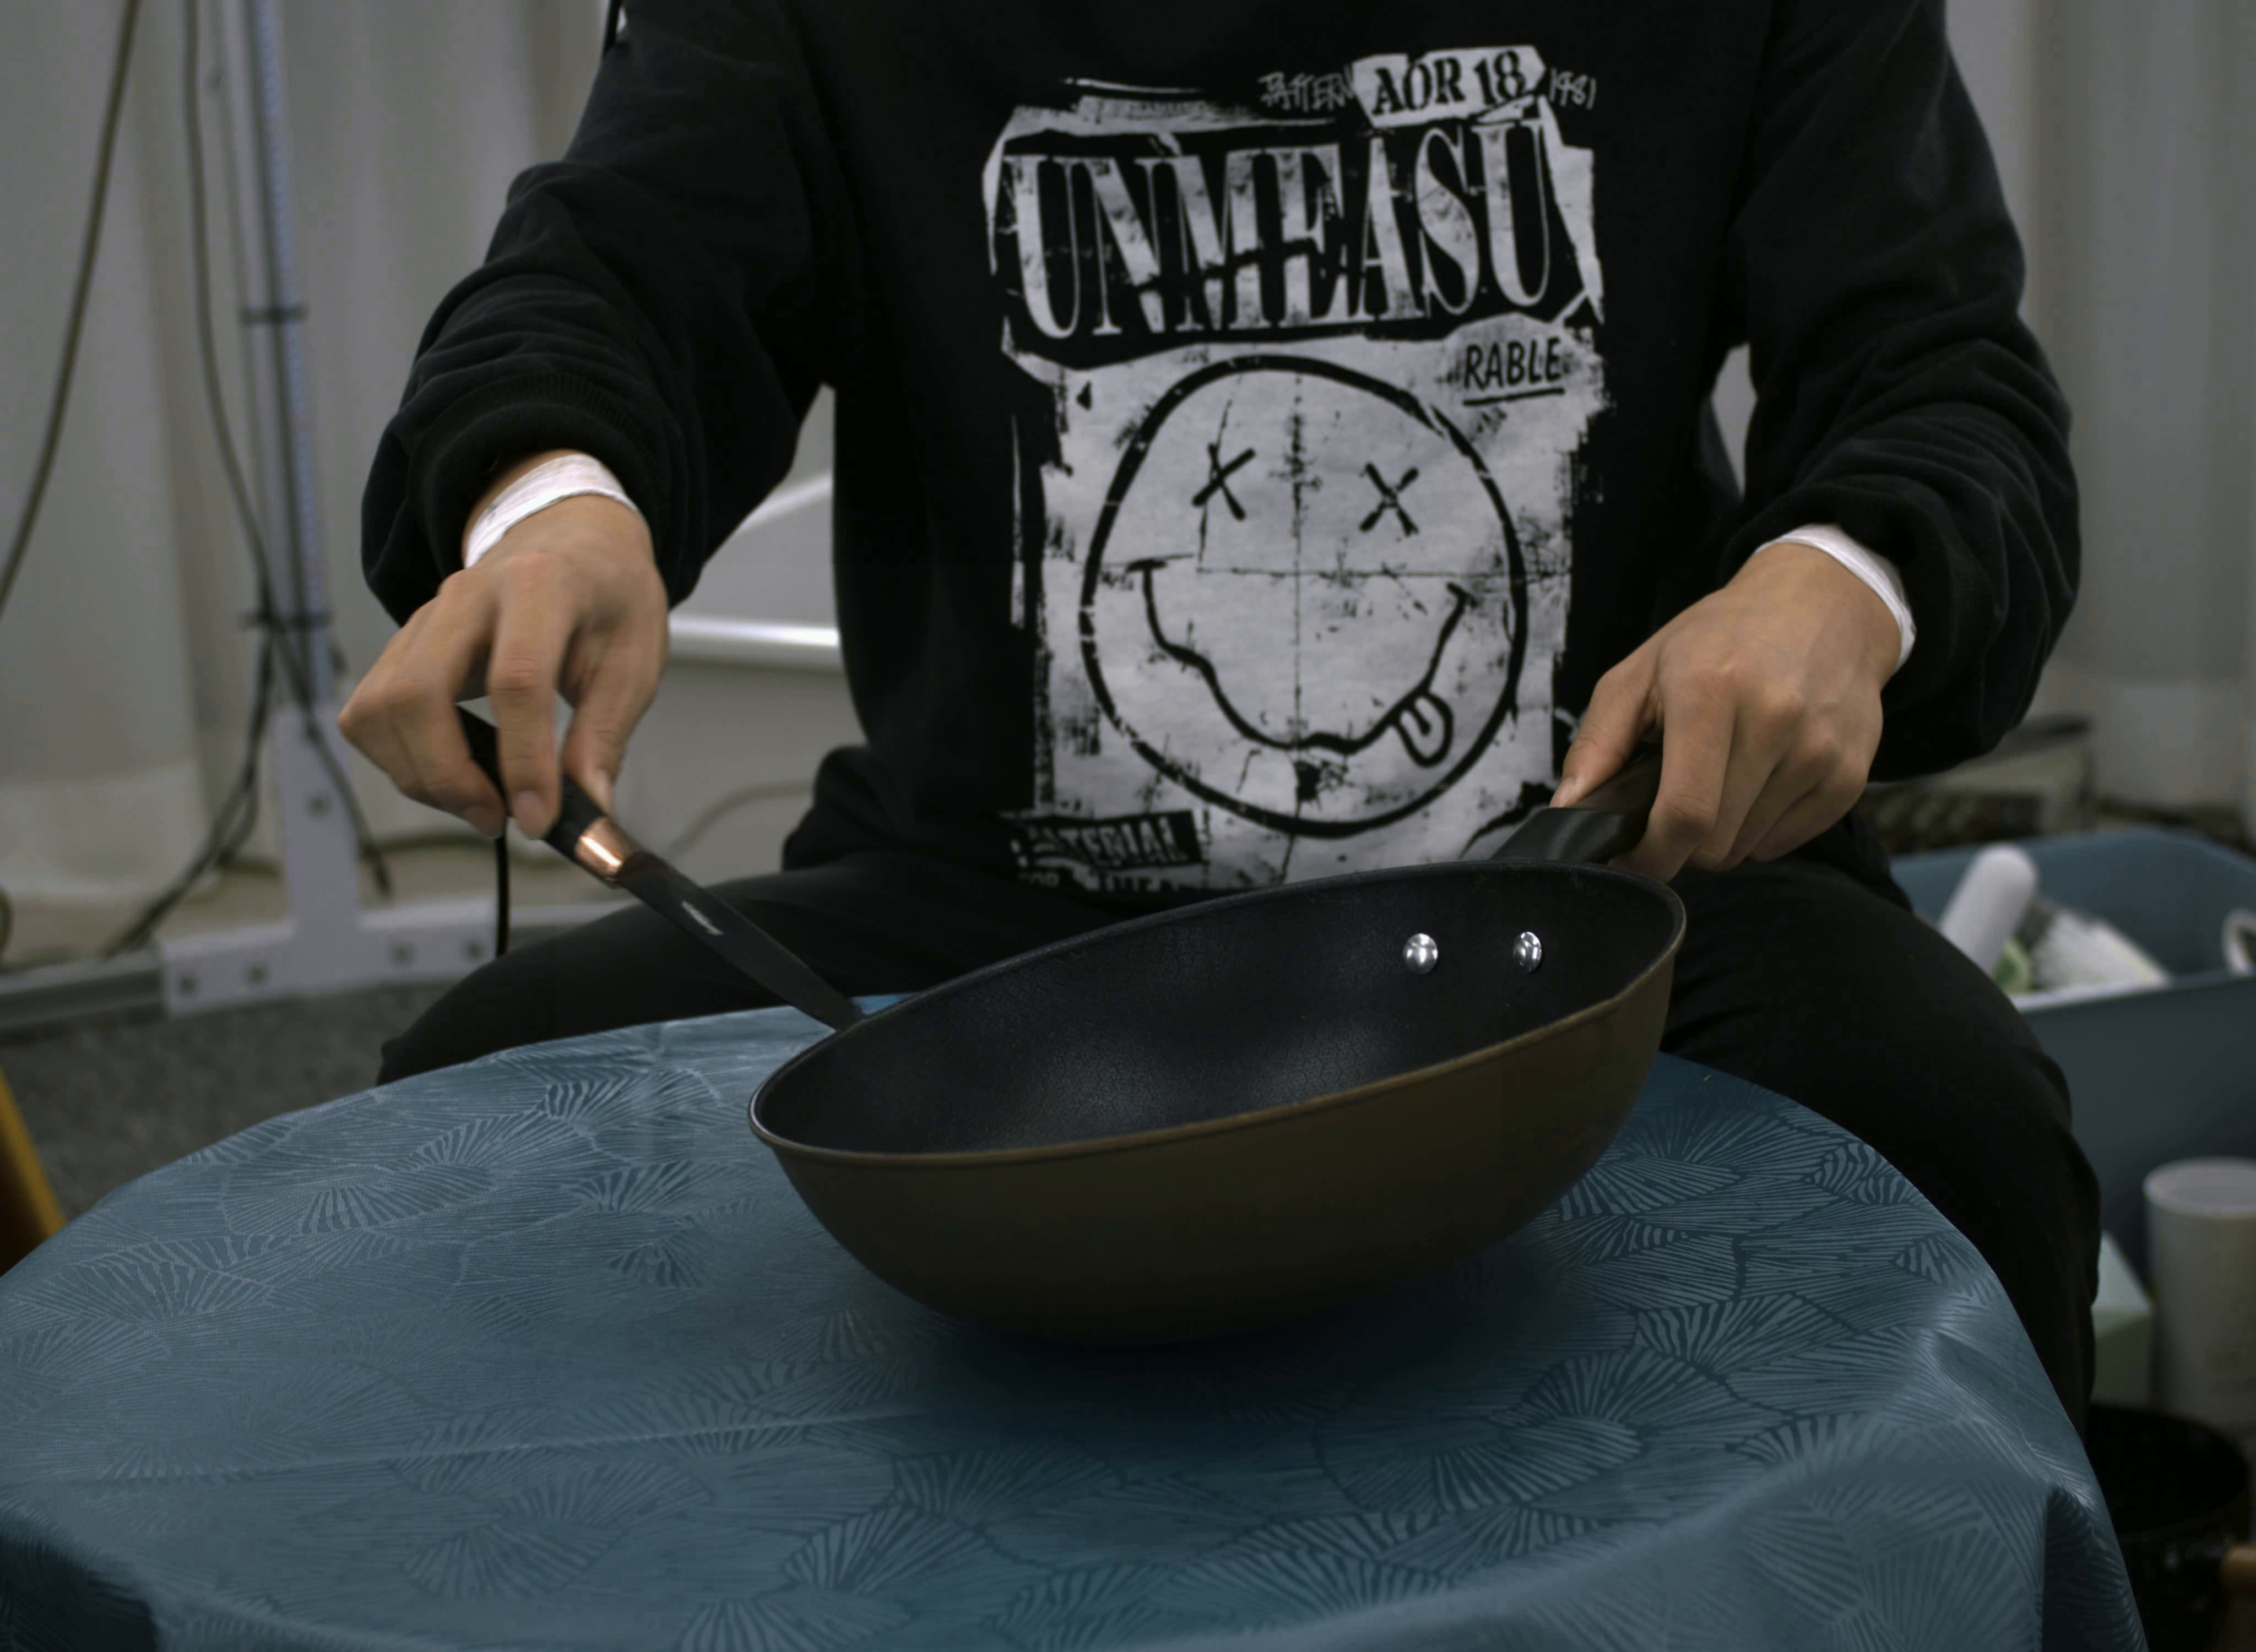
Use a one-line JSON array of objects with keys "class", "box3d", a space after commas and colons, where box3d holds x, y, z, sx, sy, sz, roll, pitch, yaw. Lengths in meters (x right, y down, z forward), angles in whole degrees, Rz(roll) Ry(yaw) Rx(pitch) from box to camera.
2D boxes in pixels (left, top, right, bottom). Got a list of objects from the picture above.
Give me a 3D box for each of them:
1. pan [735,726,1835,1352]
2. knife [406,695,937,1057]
[{"class": "pan", "box3d": [0.086, 0.065, 1.667, 0.288, 0.086, 0.463, -3, 14, 40]}, {"class": "knife", "box3d": [-0.140, 0.015, 1.645, 0.227, 0.017, 0.026, 33, 28, 33]}]
